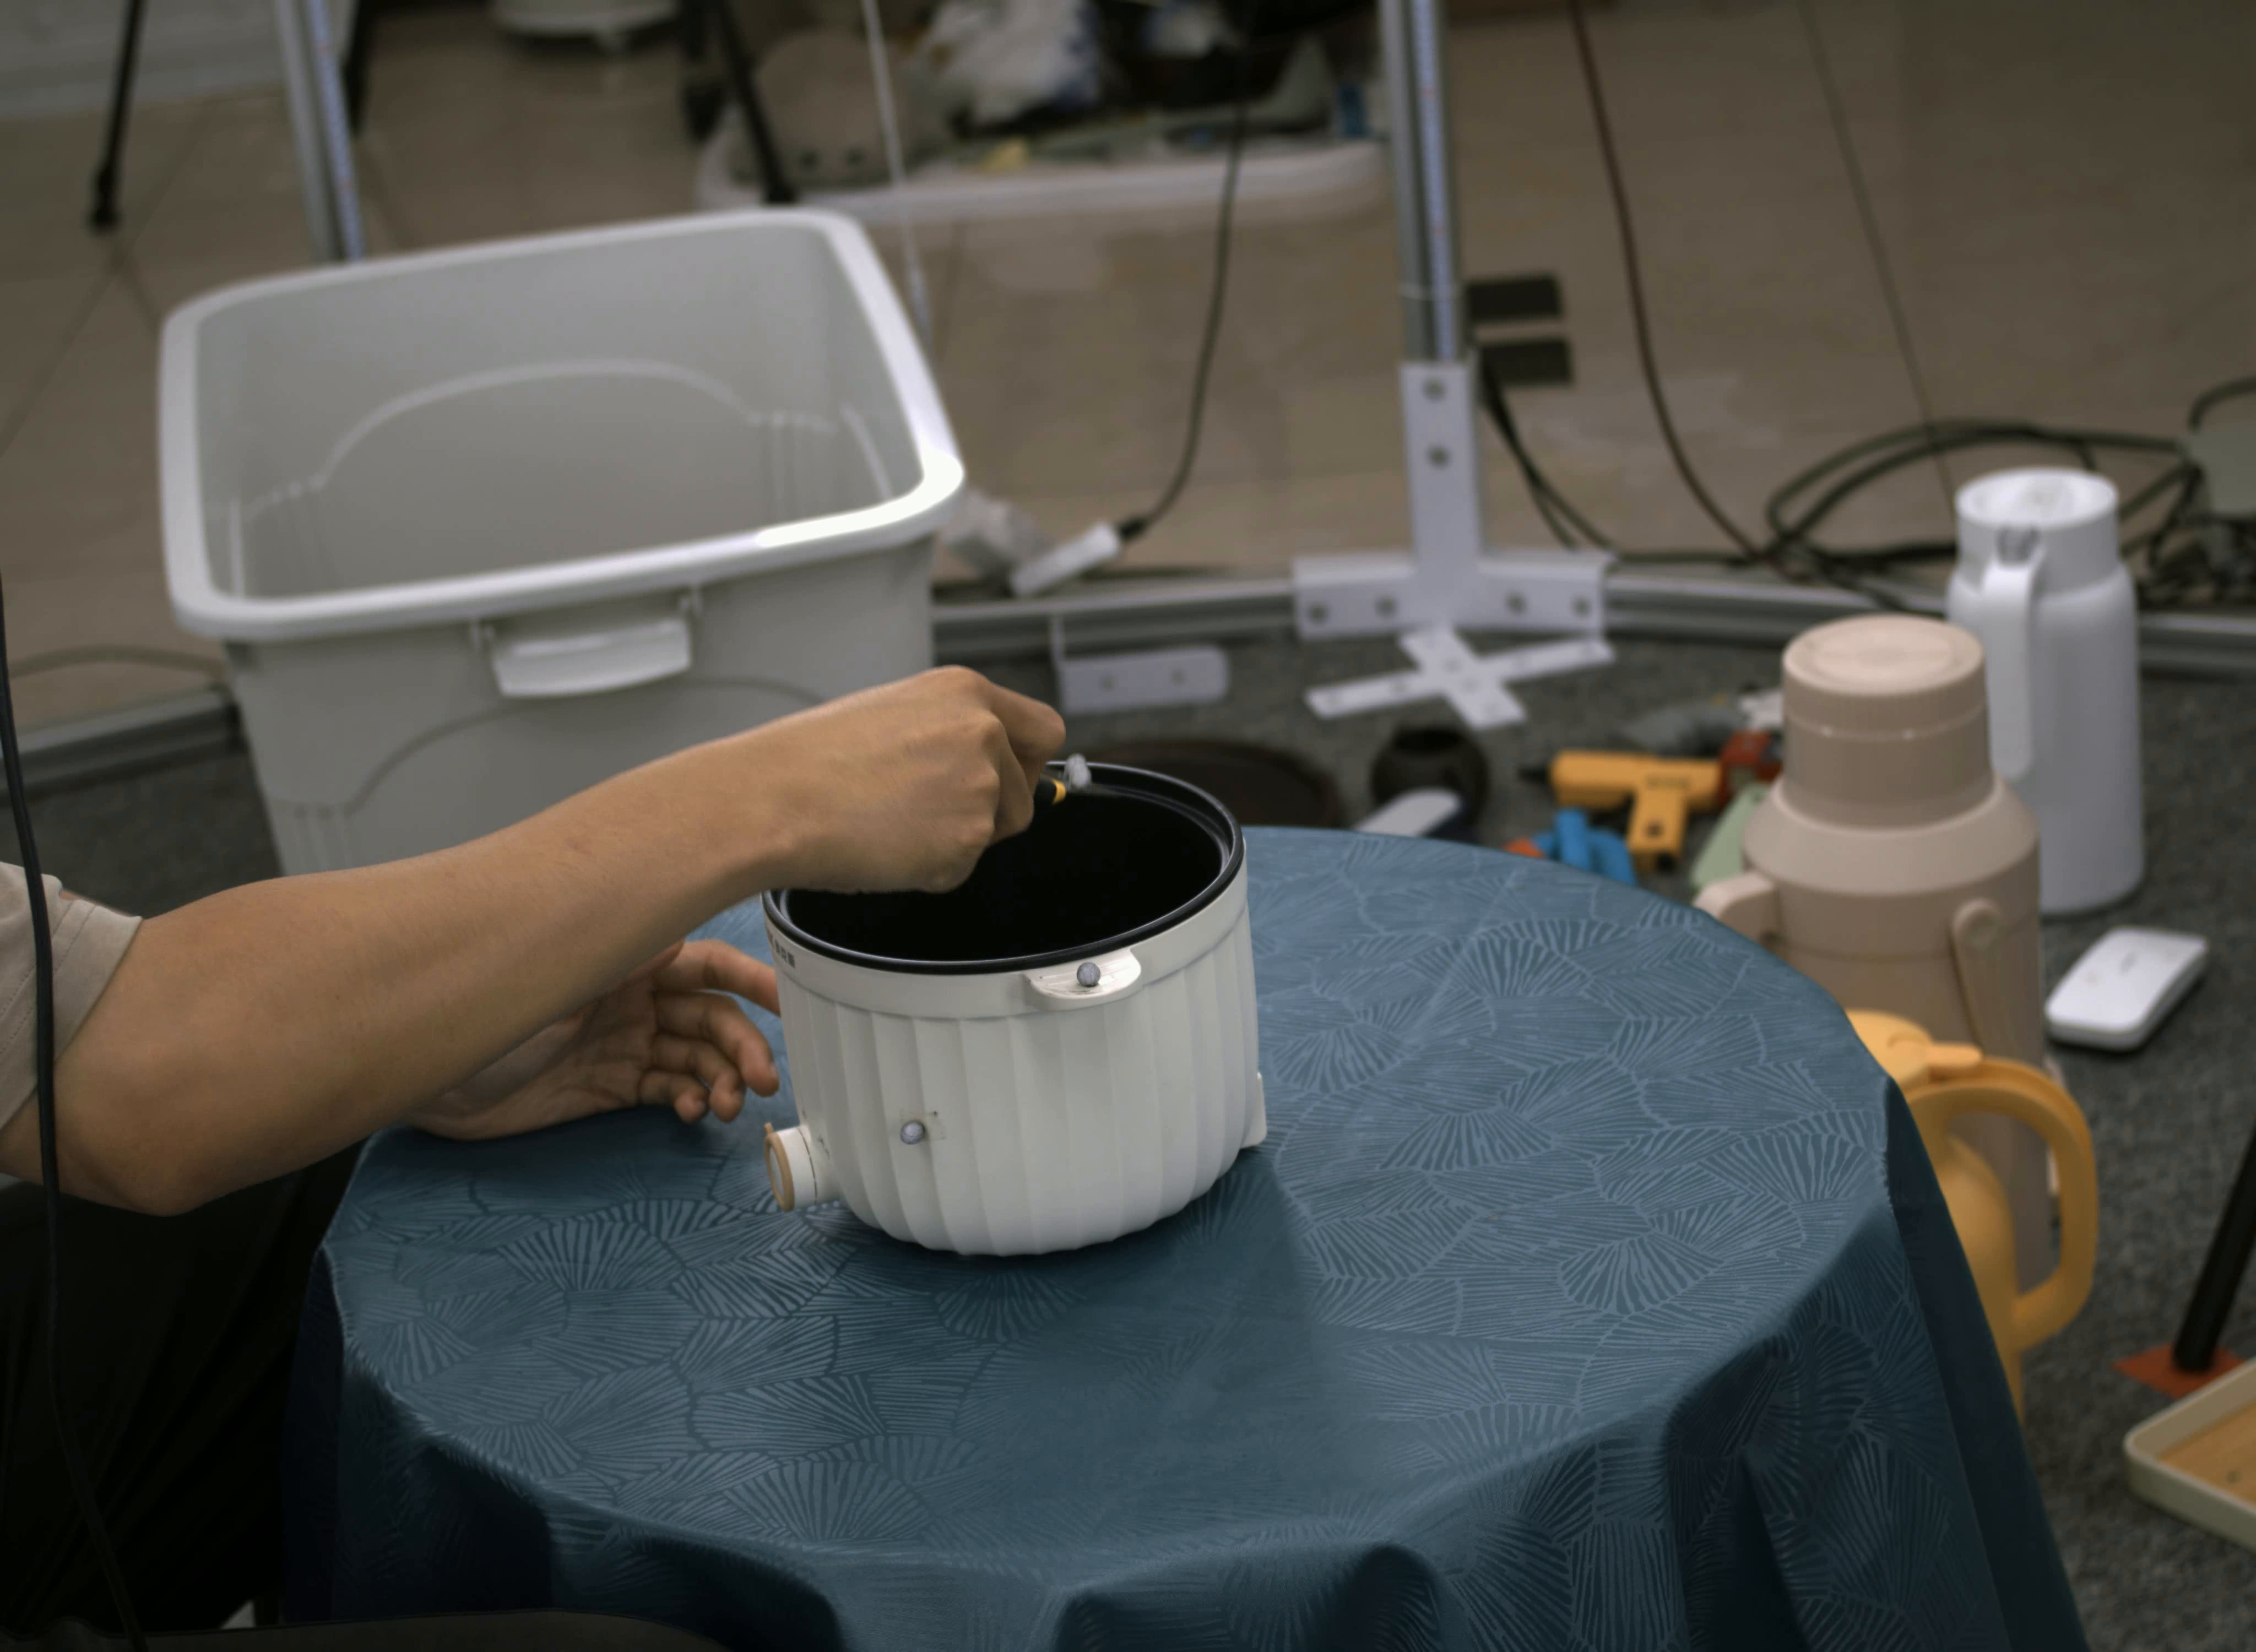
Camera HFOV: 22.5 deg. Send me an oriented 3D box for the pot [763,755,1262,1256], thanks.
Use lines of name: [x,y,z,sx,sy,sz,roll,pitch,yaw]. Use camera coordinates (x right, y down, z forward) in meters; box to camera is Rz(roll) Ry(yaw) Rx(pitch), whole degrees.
pot: [-0.045,0.075,2.134,0.190,0.145,0.237,-10,24,-17]

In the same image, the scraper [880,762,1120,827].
scraper: [-0.047,-0.013,2.049,0.038,0.015,0.171,25,10,18]
